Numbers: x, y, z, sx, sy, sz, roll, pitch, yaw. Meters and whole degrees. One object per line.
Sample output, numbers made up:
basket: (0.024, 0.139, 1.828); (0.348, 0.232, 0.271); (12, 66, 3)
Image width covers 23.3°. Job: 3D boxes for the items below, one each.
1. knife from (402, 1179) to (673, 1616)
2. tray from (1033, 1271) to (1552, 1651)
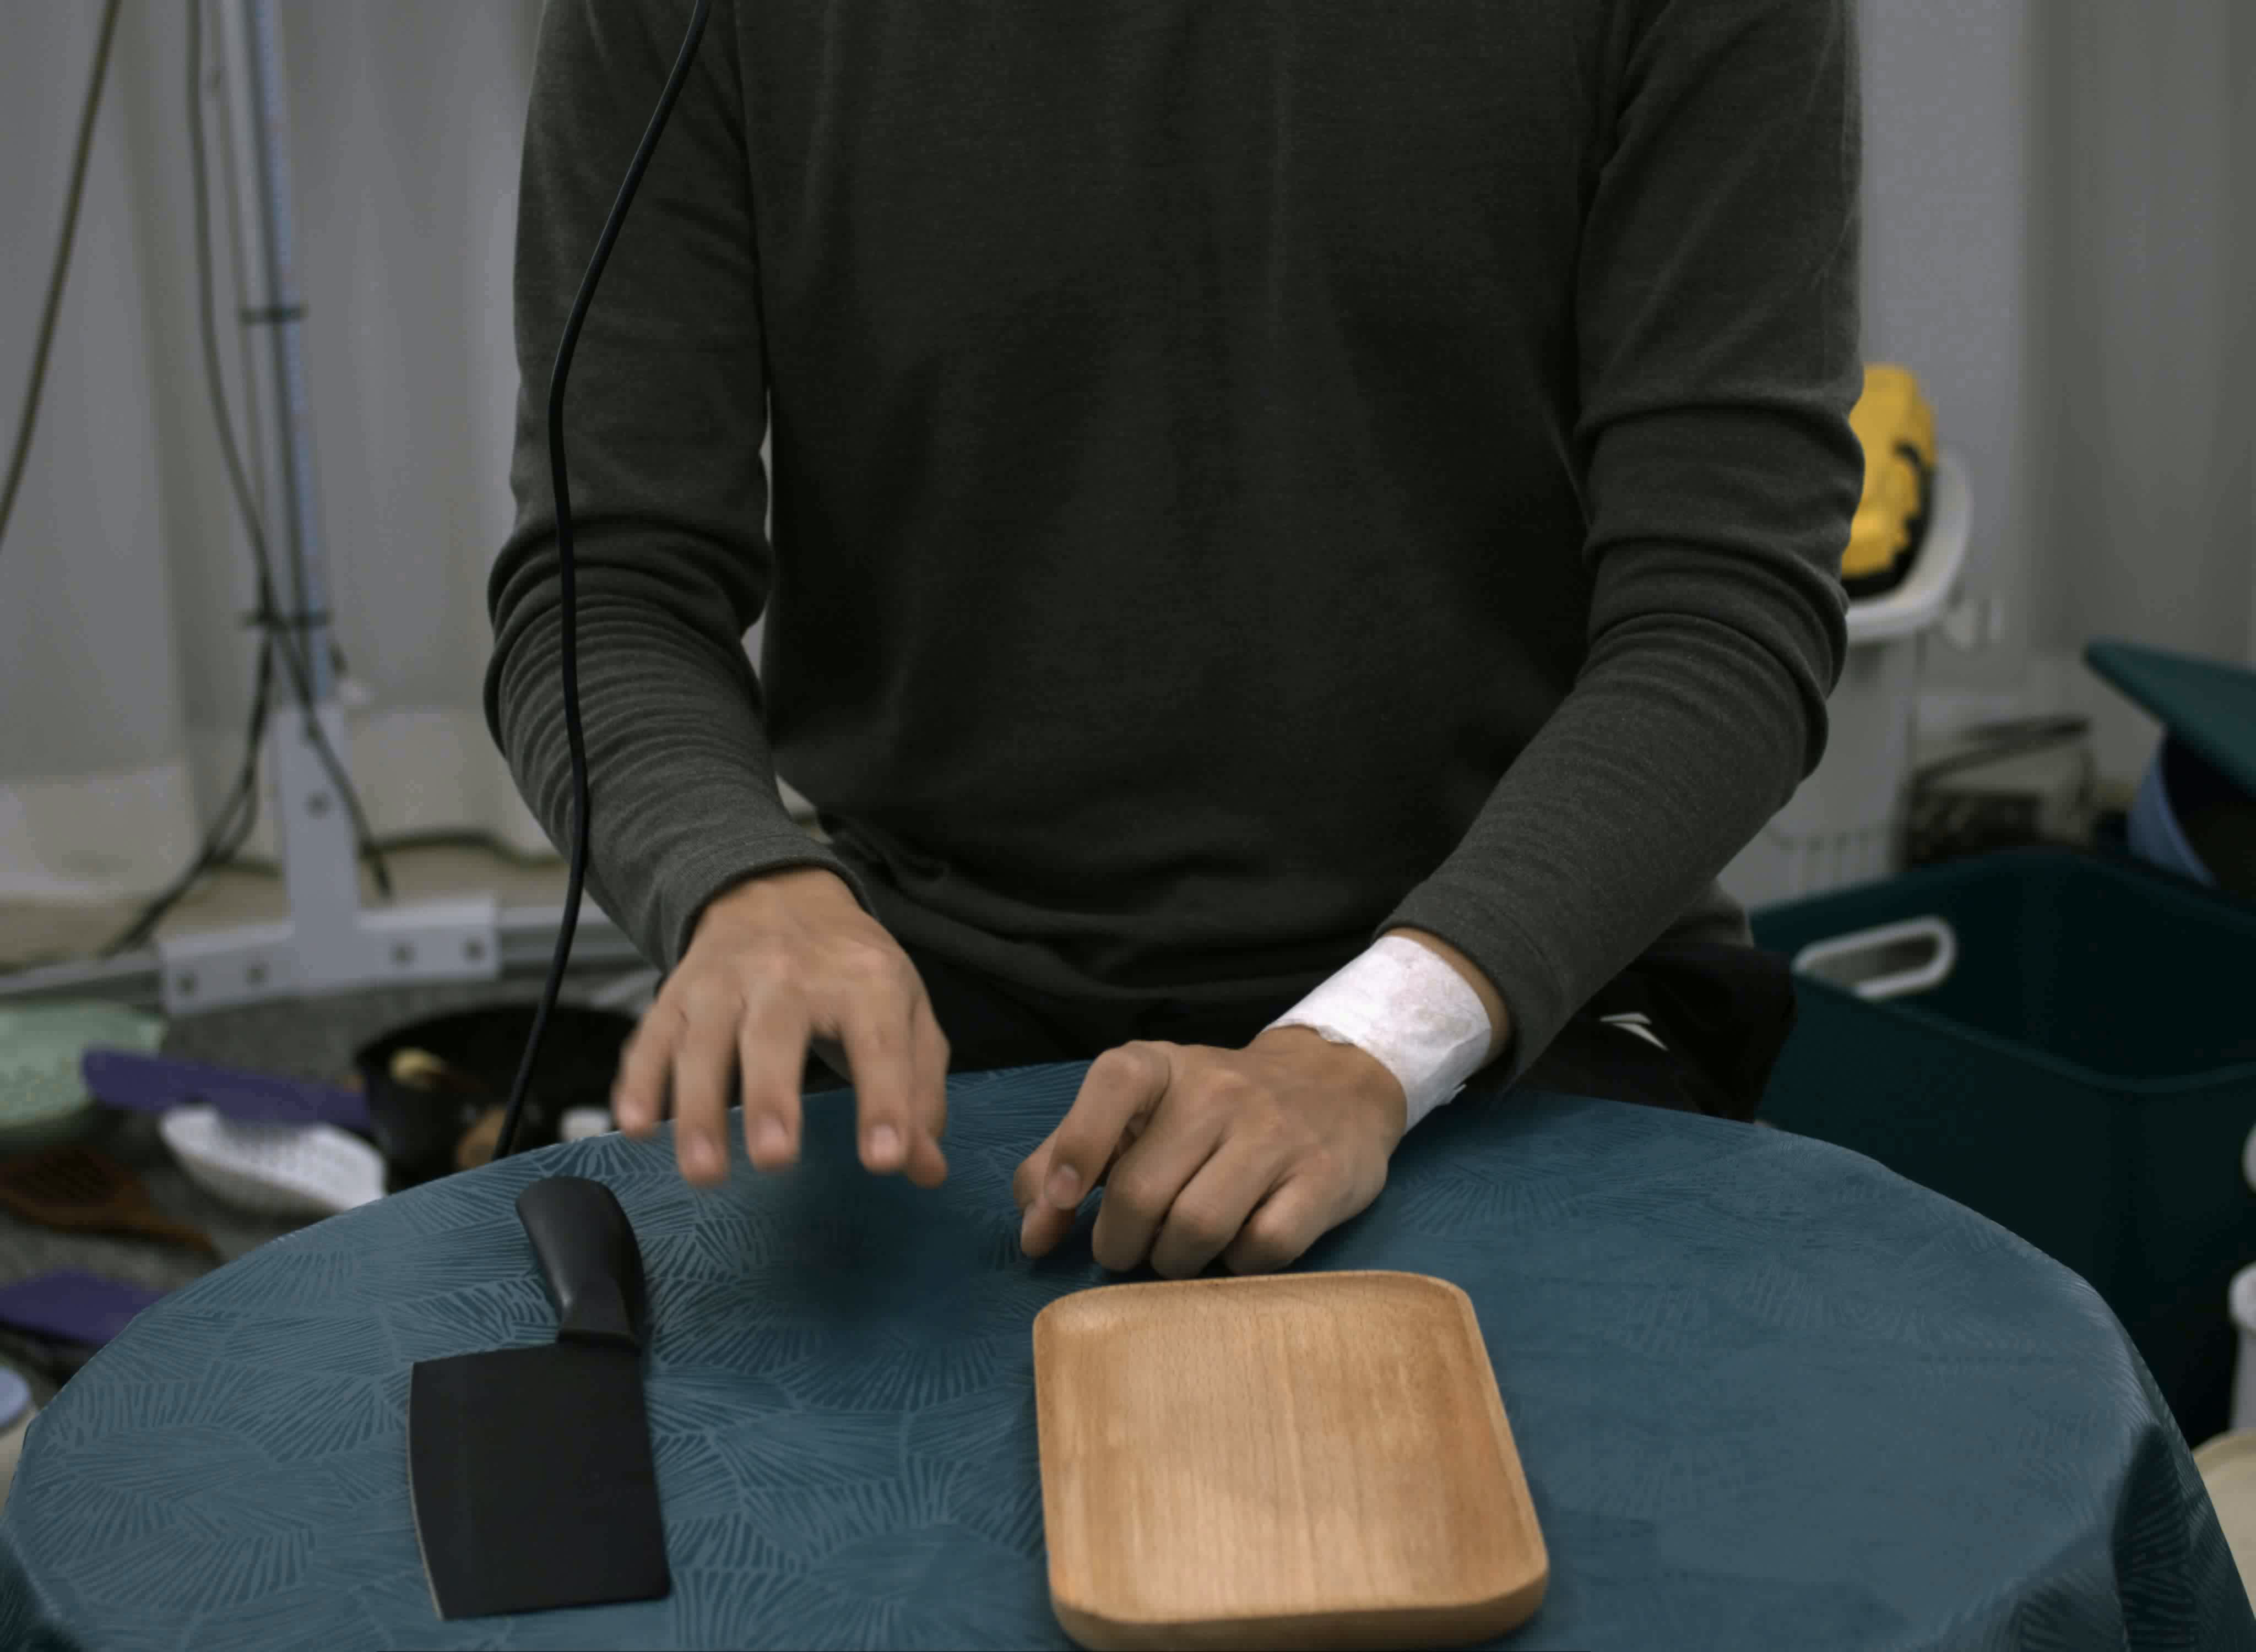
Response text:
knife: (-0.166, 0.160, 1.553); (0.080, 0.021, 0.305); (-5, 16, -2)
tray: (0.040, 0.169, 1.472); (0.130, 0.023, 0.252); (-1, 14, -1)
